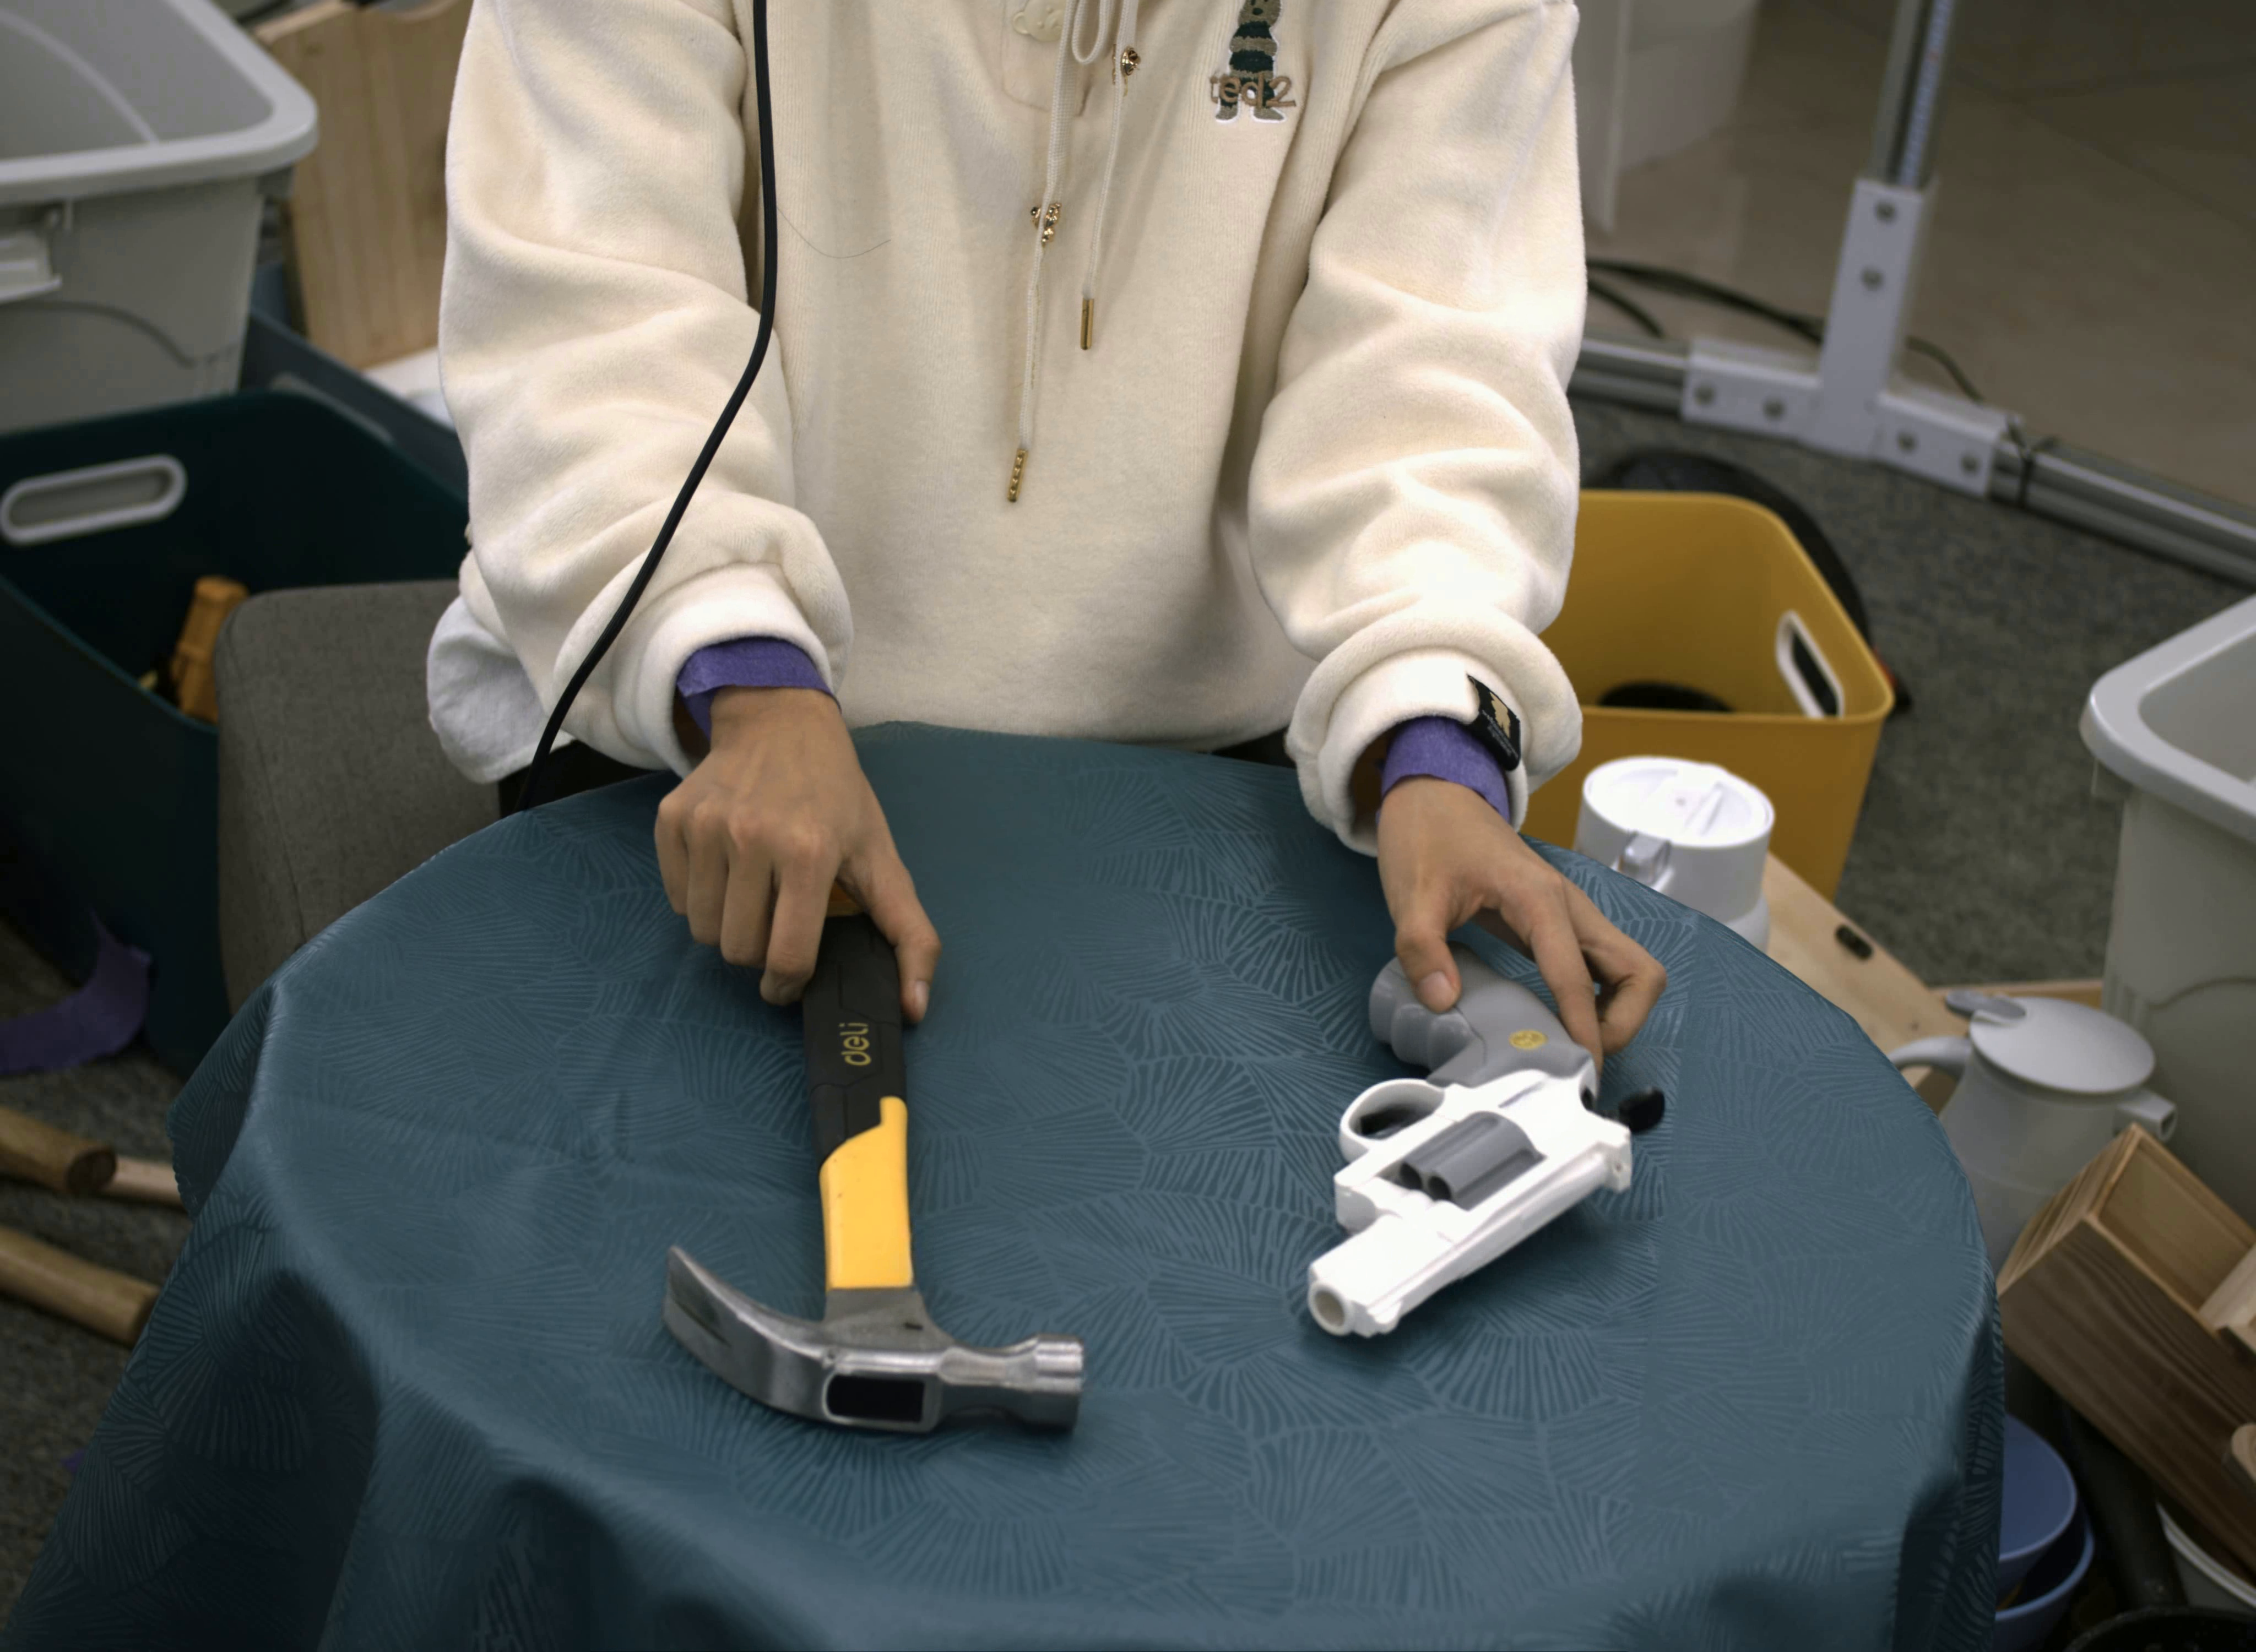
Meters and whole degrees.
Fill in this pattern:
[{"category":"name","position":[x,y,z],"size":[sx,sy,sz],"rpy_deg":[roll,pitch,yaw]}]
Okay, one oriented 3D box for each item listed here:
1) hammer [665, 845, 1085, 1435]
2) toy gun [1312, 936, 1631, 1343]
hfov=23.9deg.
[{"category":"hammer","position":[-0.090,0.097,1.794],"size":[0.131,0.032,0.341],"rpy_deg":[2,28,-5]},{"category":"toy gun","position":[0.099,0.105,1.818],"size":[0.142,0.038,0.208],"rpy_deg":[17,36,38]}]
